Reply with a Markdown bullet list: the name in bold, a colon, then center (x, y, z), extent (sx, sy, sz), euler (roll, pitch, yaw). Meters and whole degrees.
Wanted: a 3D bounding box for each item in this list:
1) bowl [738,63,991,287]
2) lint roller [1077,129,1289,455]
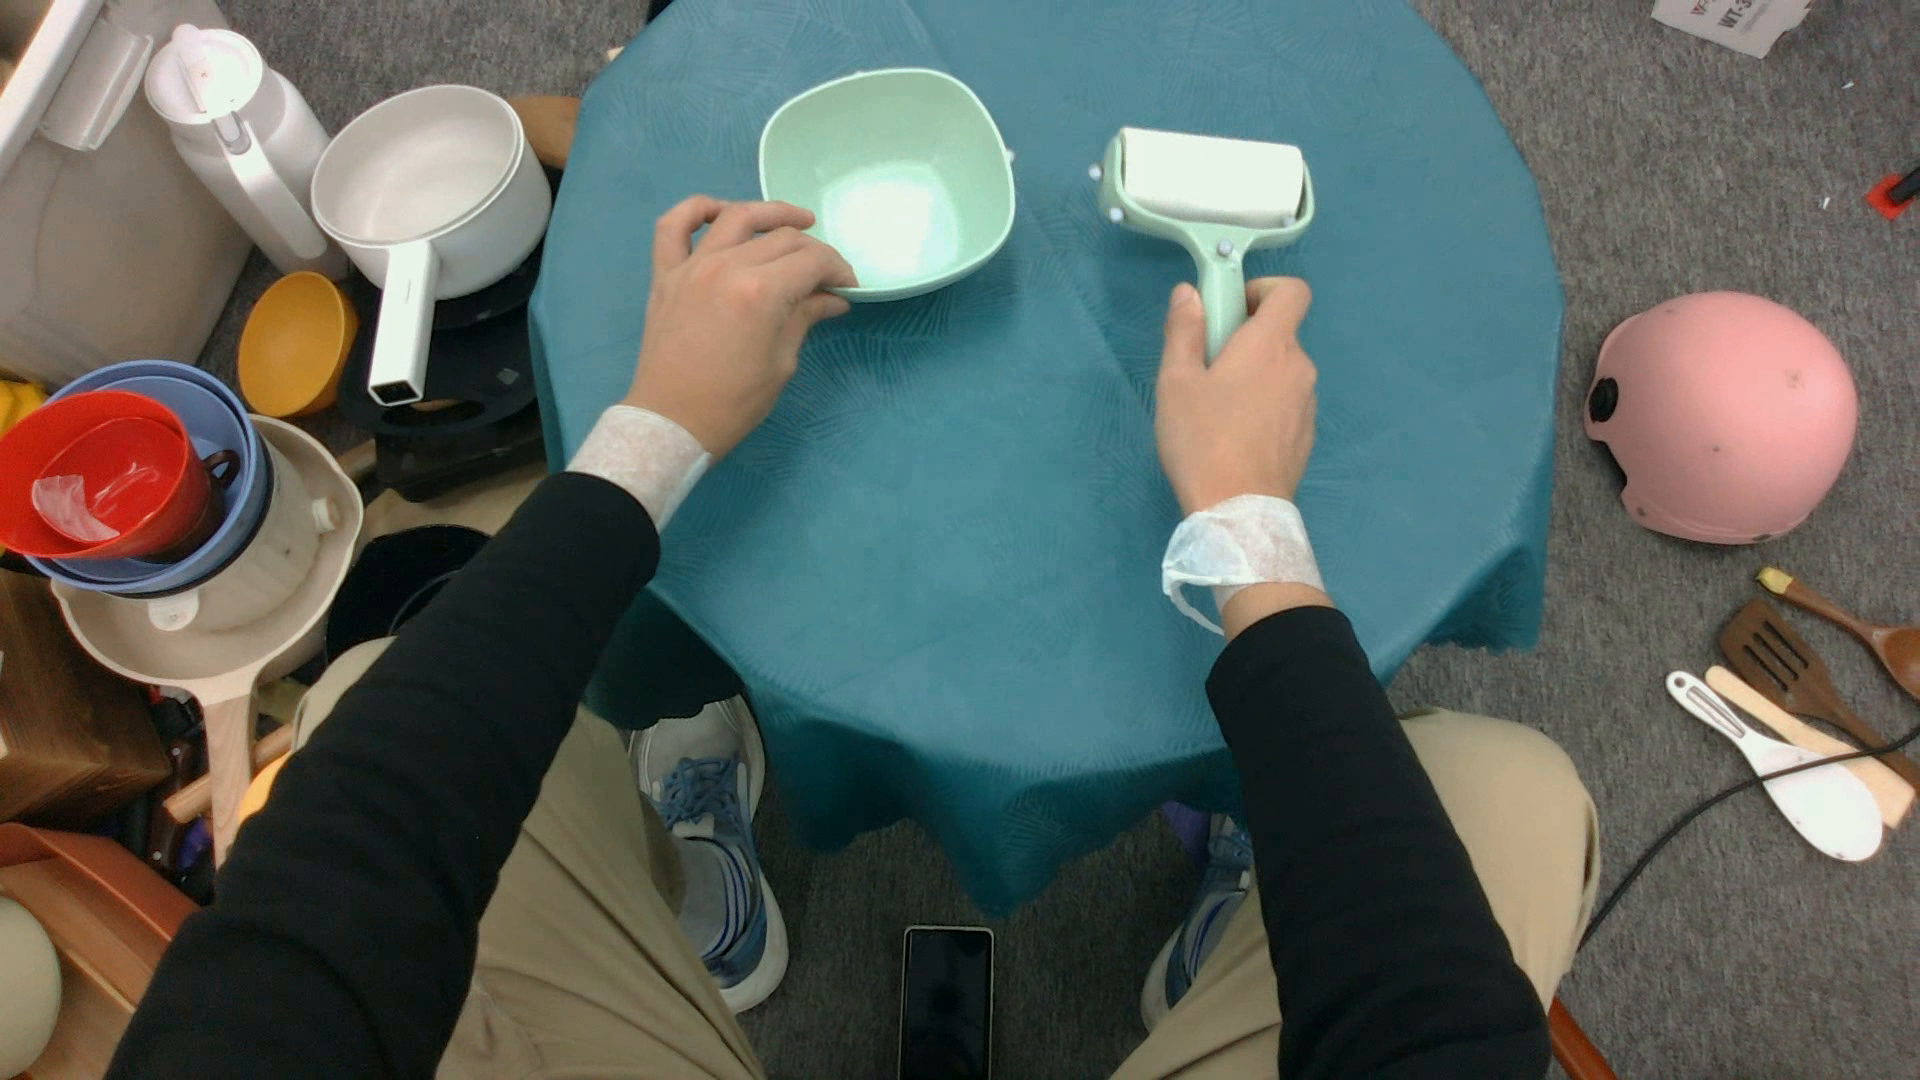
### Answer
- **bowl**: center (-0.055, -0.200, 0.793), extent (0.151, 0.058, 0.152), euler (1, 70, -3)
- **lint roller**: center (0.126, -0.141, 0.756), extent (0.117, 0.048, 0.198), euler (4, 63, -8)
